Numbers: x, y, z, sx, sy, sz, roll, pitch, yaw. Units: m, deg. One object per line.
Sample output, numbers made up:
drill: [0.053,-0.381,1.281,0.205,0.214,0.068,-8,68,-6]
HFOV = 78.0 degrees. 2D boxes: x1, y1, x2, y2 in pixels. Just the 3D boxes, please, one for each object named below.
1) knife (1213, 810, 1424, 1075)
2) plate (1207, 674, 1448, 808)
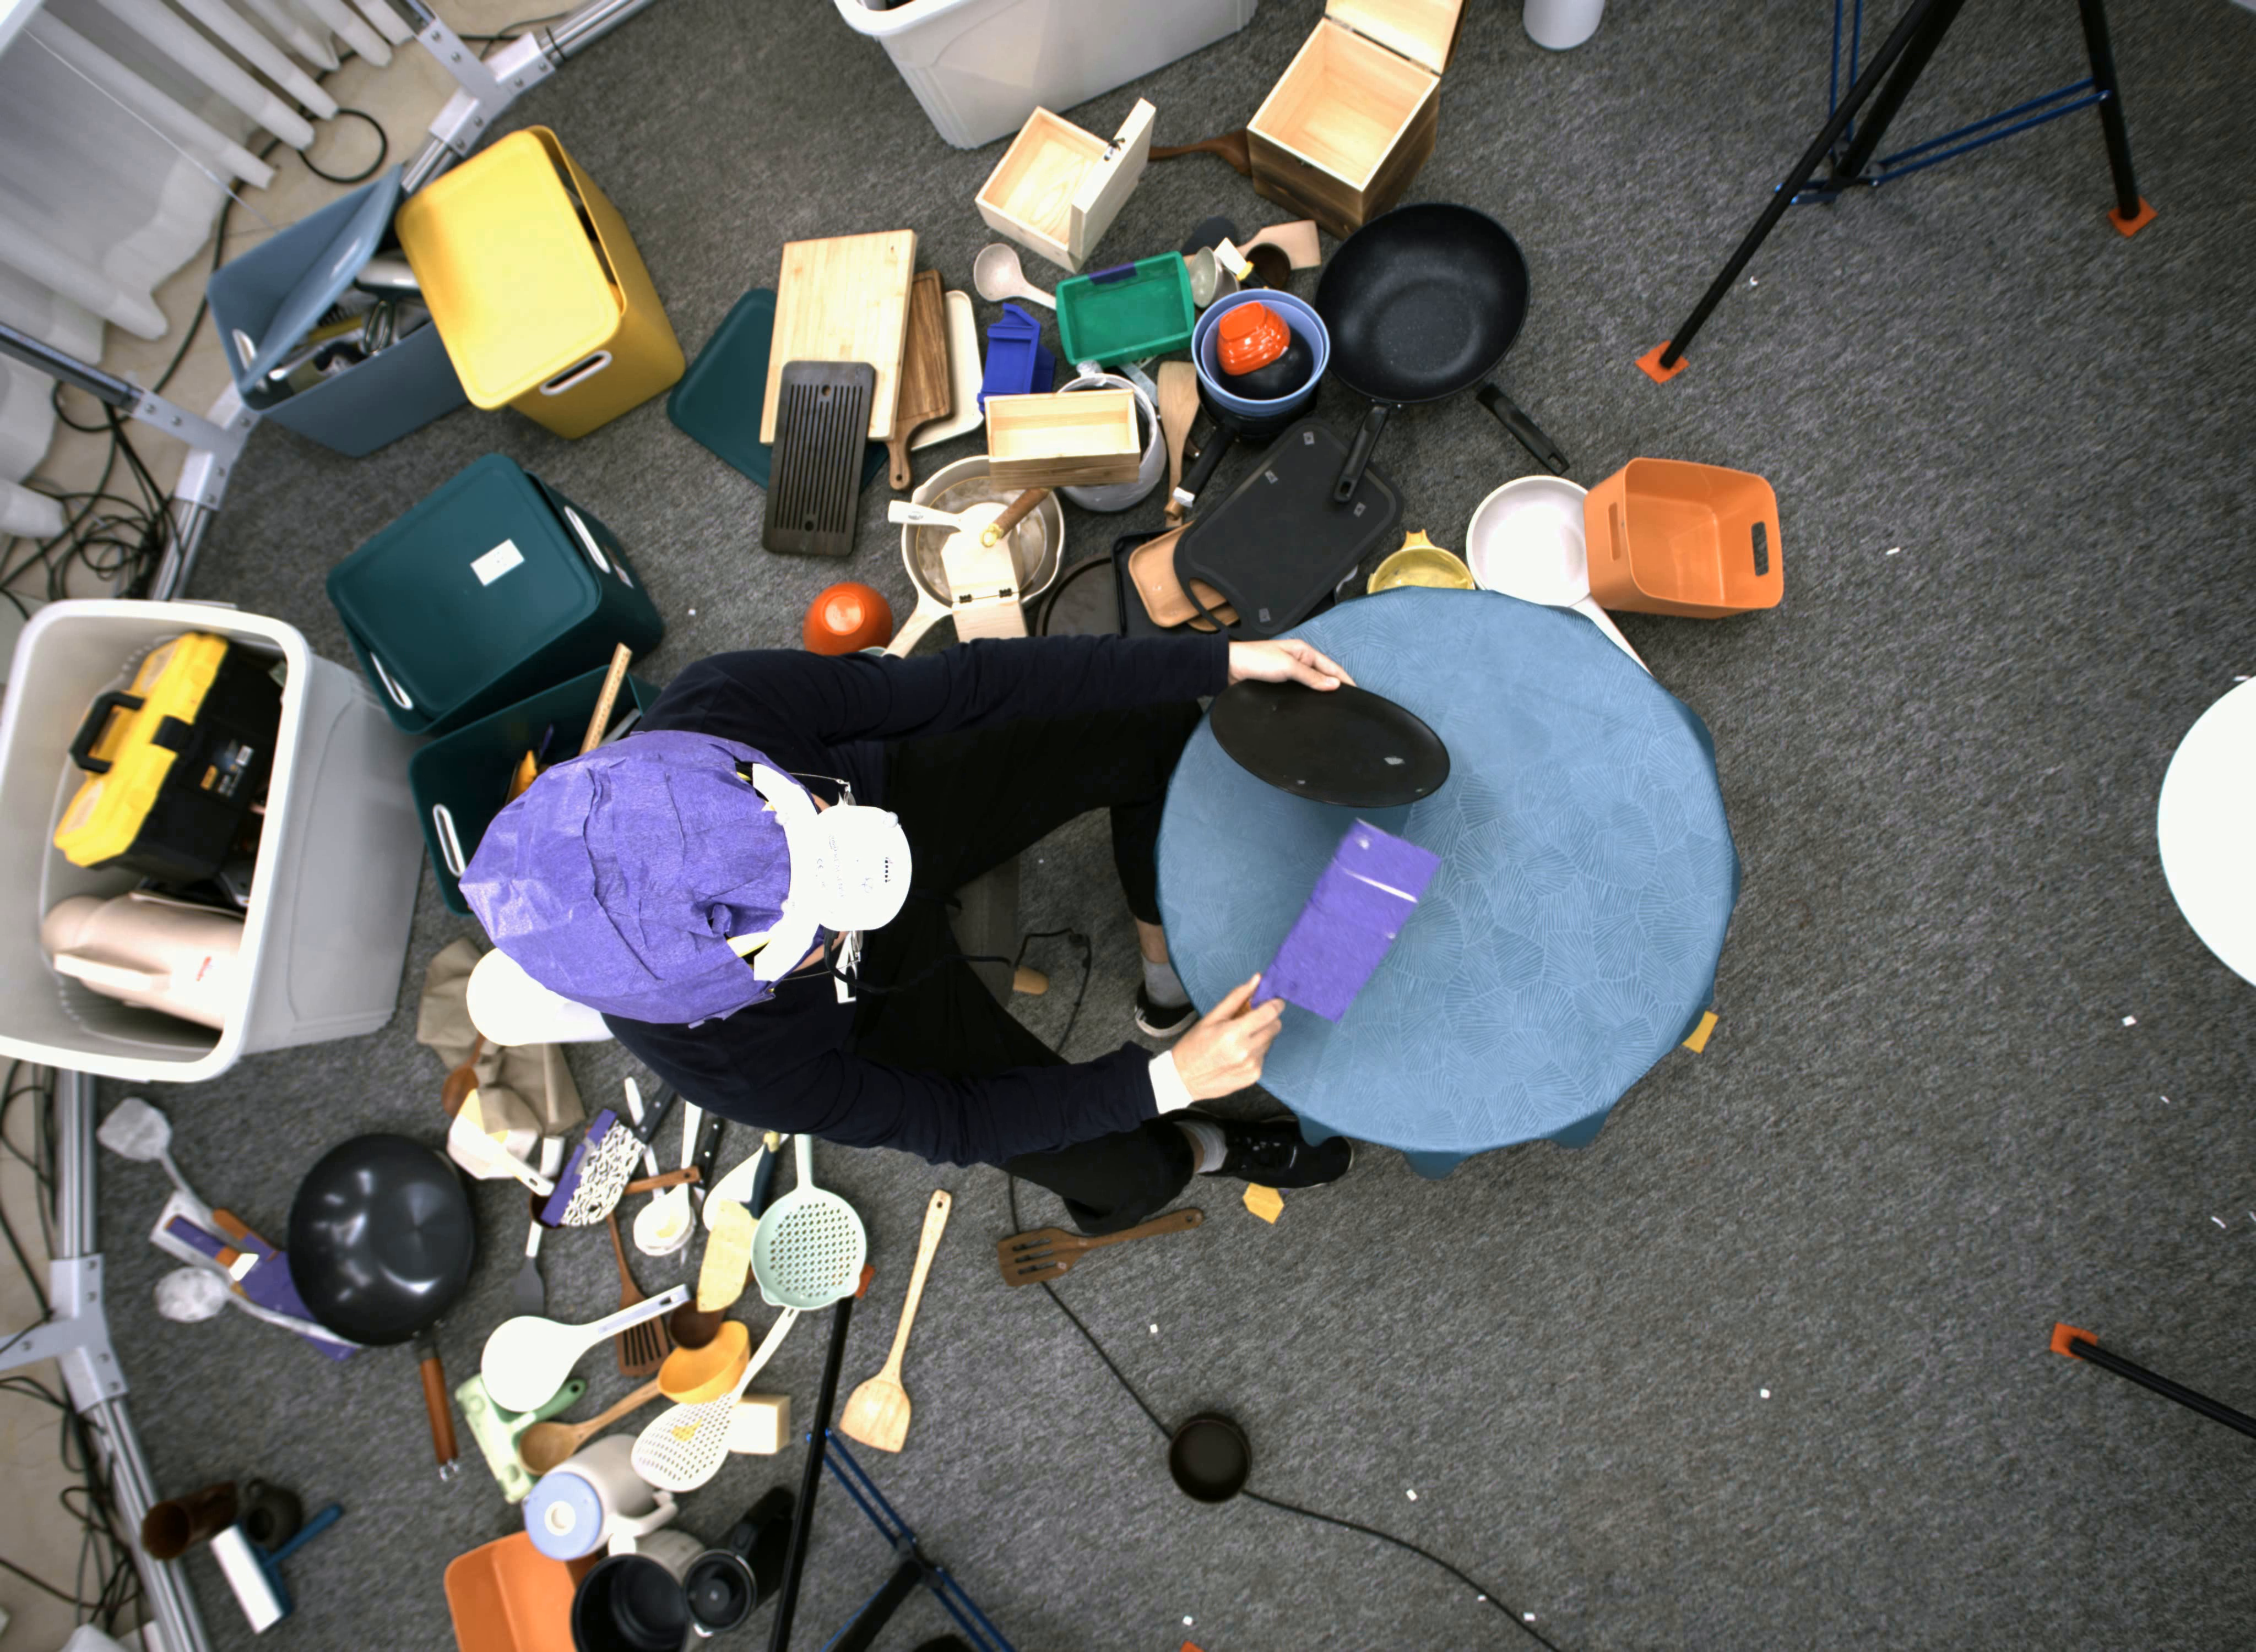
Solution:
knife: [0.182,0.130,1.335,0.104,0.031,0.322,23,121,-2]
plate: [0.196,-0.083,1.365,0.244,0.238,0.024,18,126,11]
